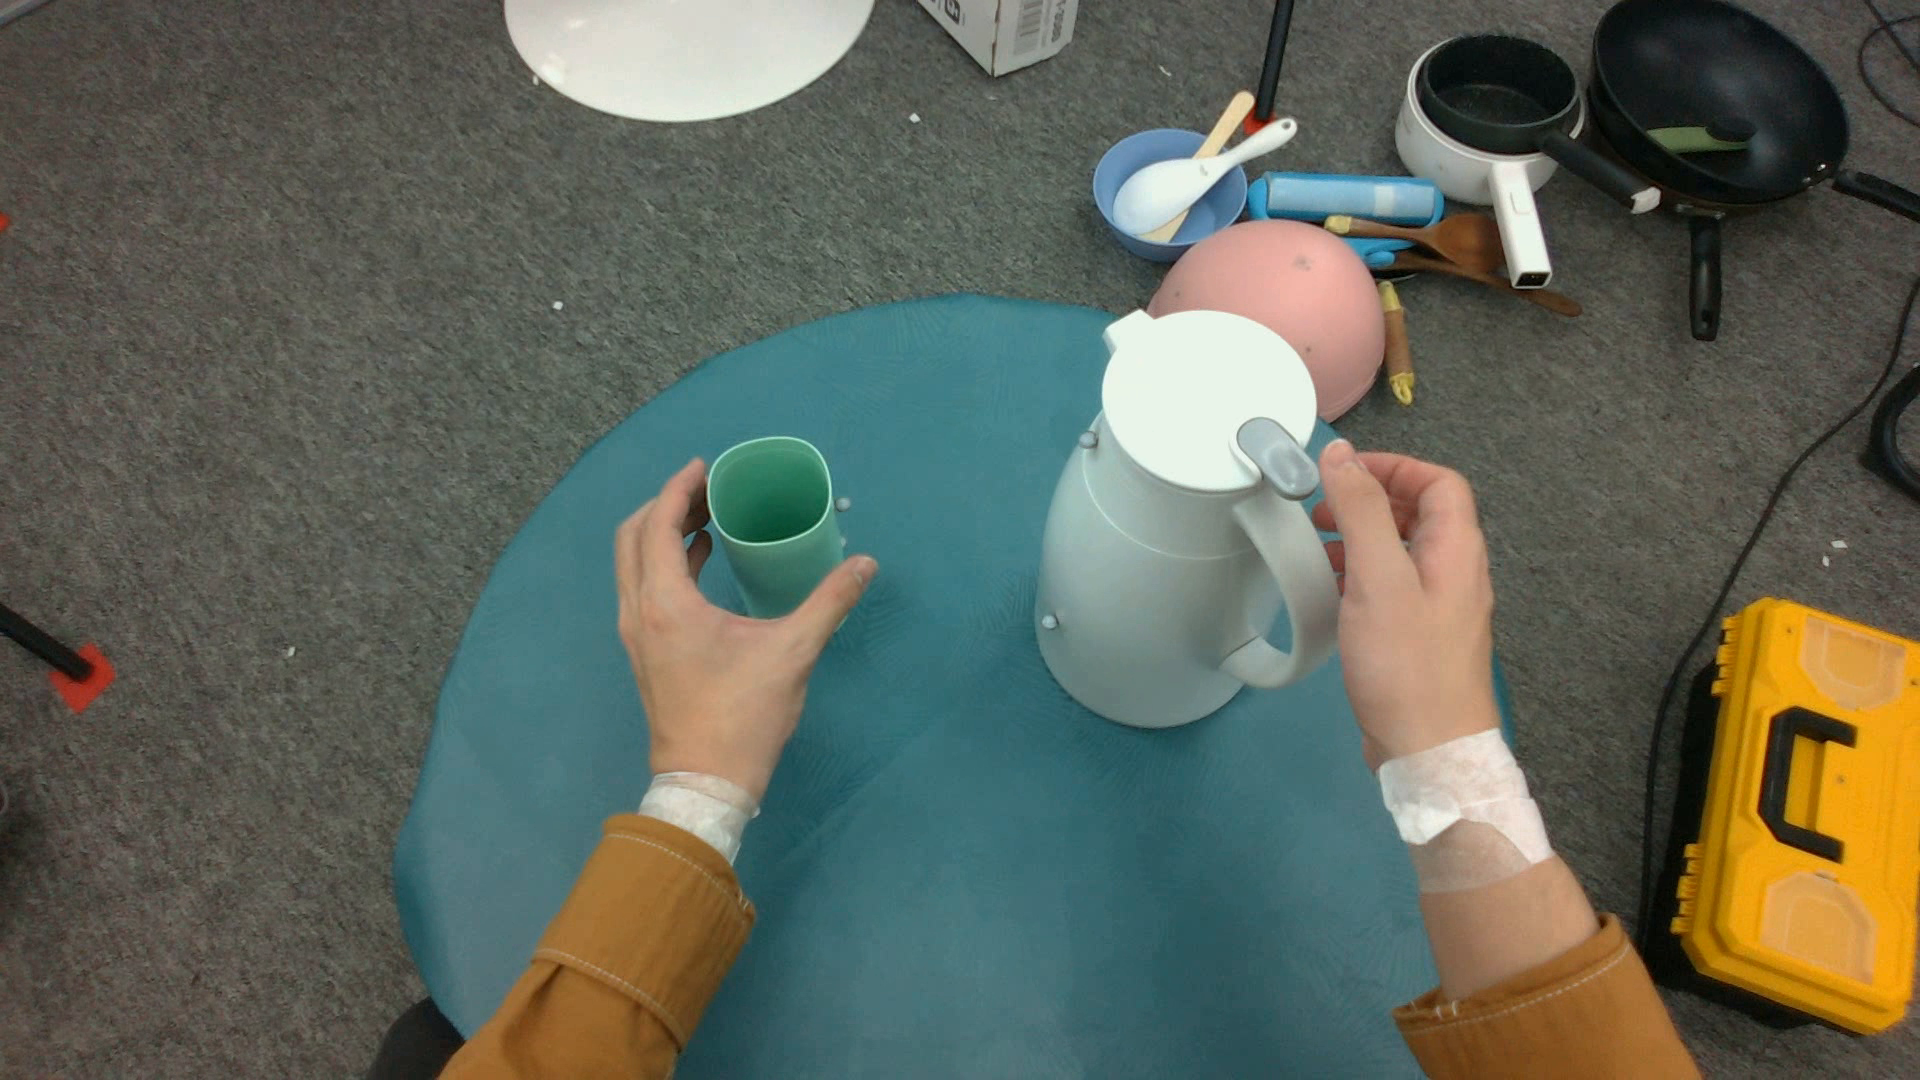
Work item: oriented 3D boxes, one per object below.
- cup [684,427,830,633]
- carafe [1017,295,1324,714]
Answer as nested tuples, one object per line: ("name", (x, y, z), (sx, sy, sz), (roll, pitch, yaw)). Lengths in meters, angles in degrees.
("cup", (-0.107, -0.001, 0.751), (0.067, 0.132, 0.067), (0, 64, 0))
("carafe", (0.110, -0.003, 0.685), (0.133, 0.247, 0.168), (-31, 68, -15))
